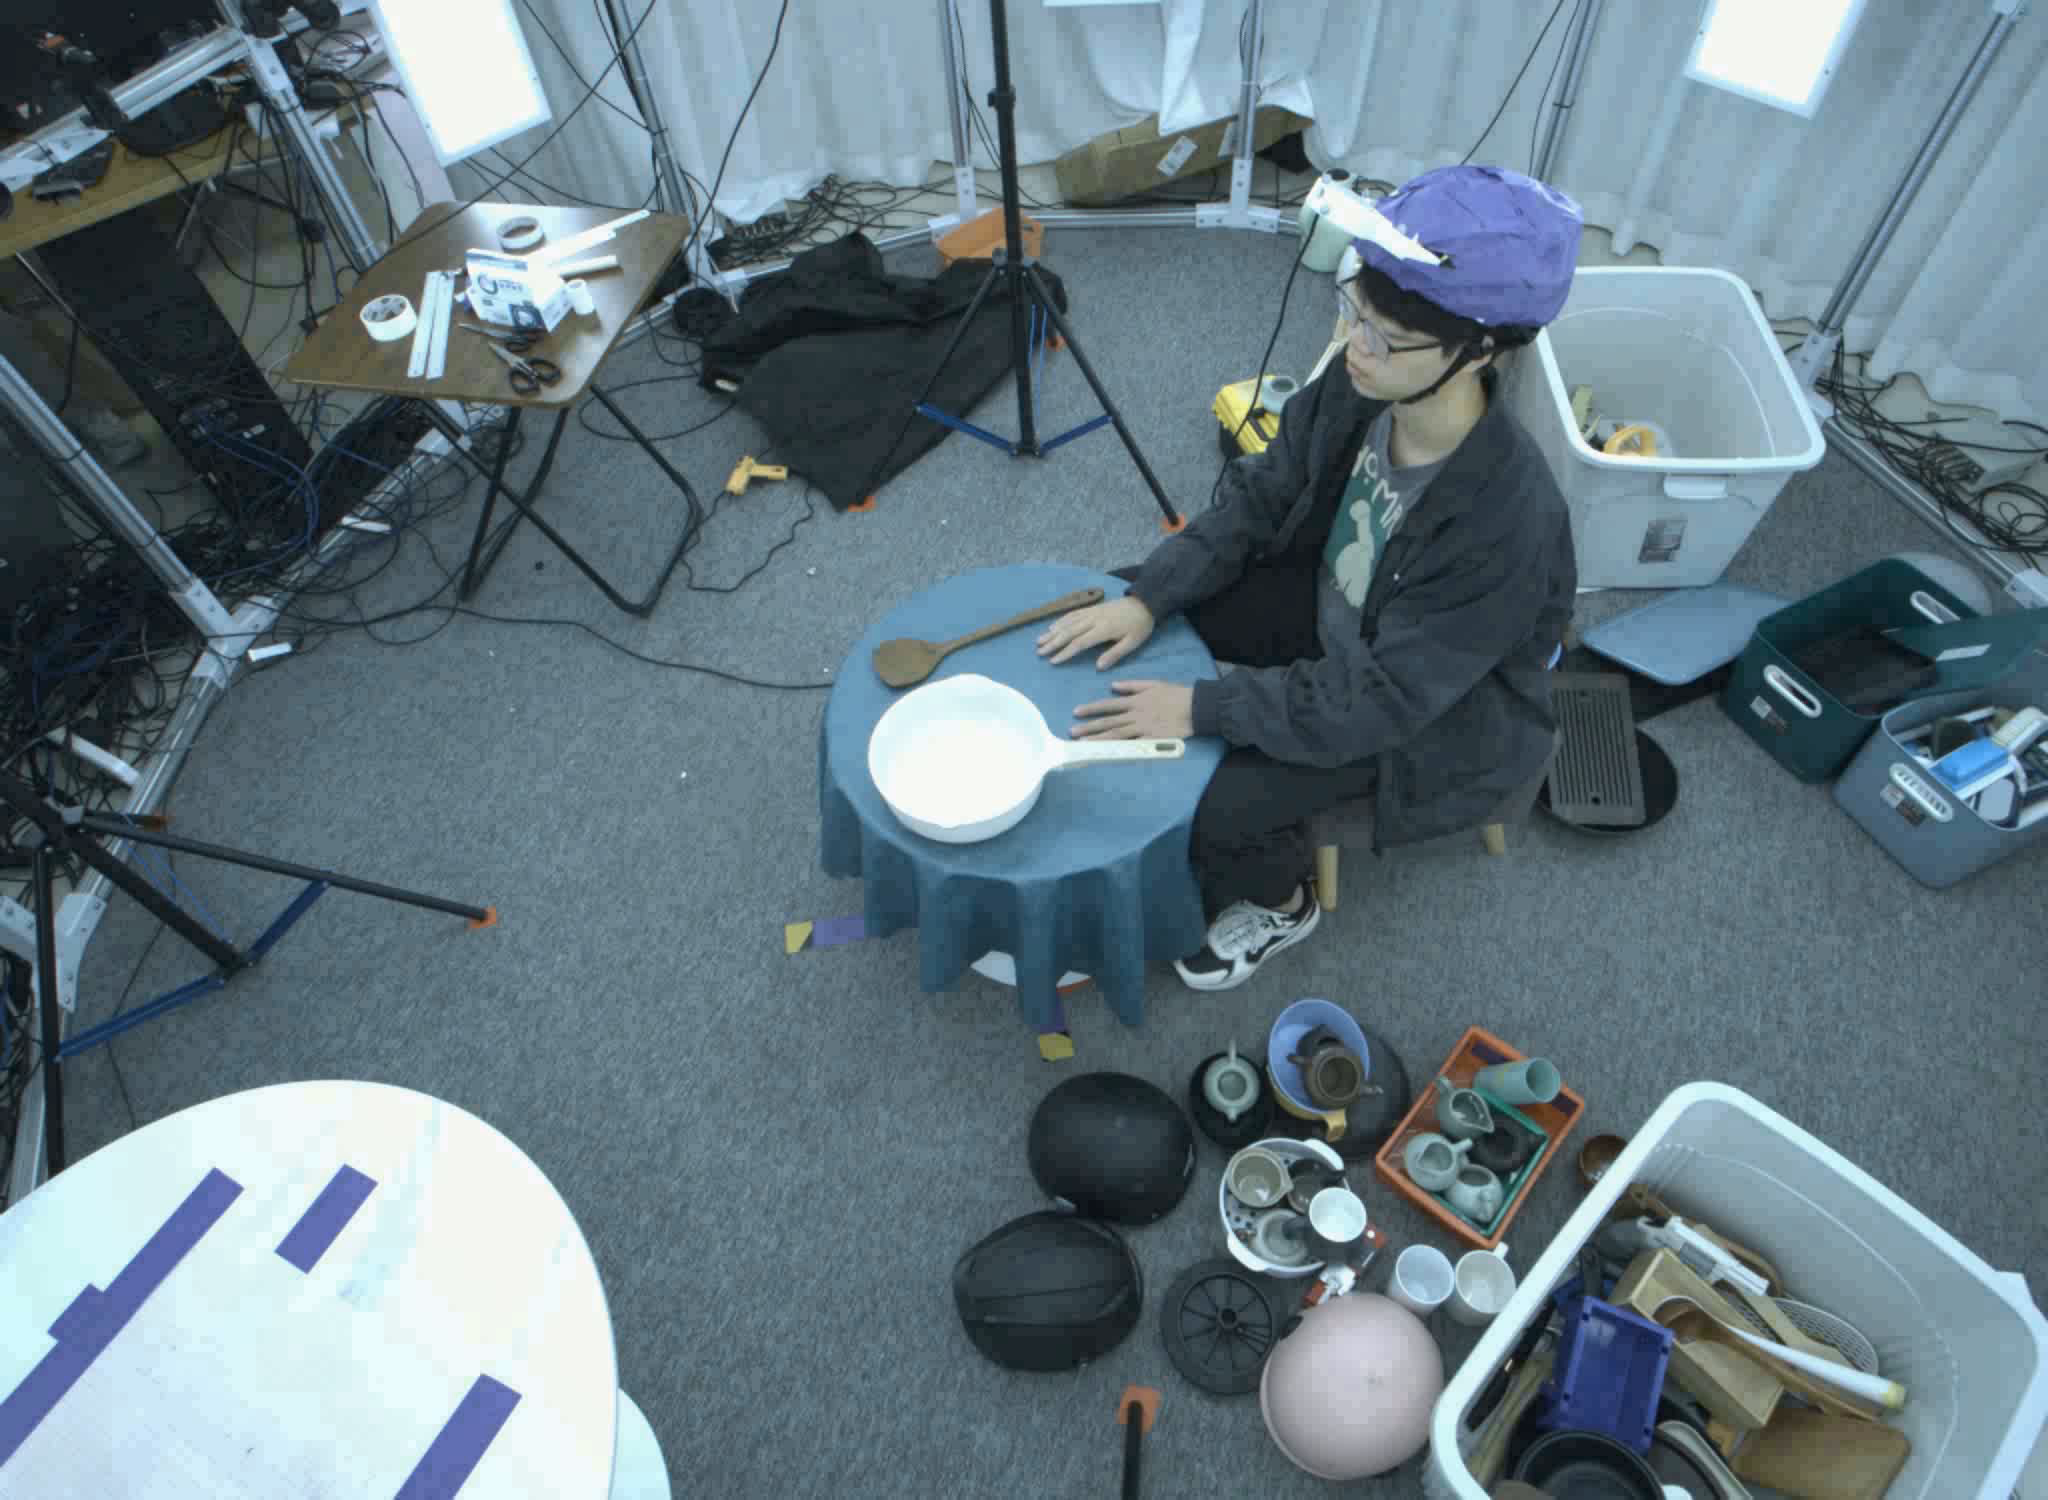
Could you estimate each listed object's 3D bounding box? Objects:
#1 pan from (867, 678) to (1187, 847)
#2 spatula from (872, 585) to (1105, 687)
[{"bbox_3d":[0.004,0.023,1.699,0.434,0.103,0.261,2,53,4],"label":"pan"},{"bbox_3d":[-0.050,-0.189,1.907,0.389,0.016,0.094,-21,57,-13],"label":"spatula"}]
